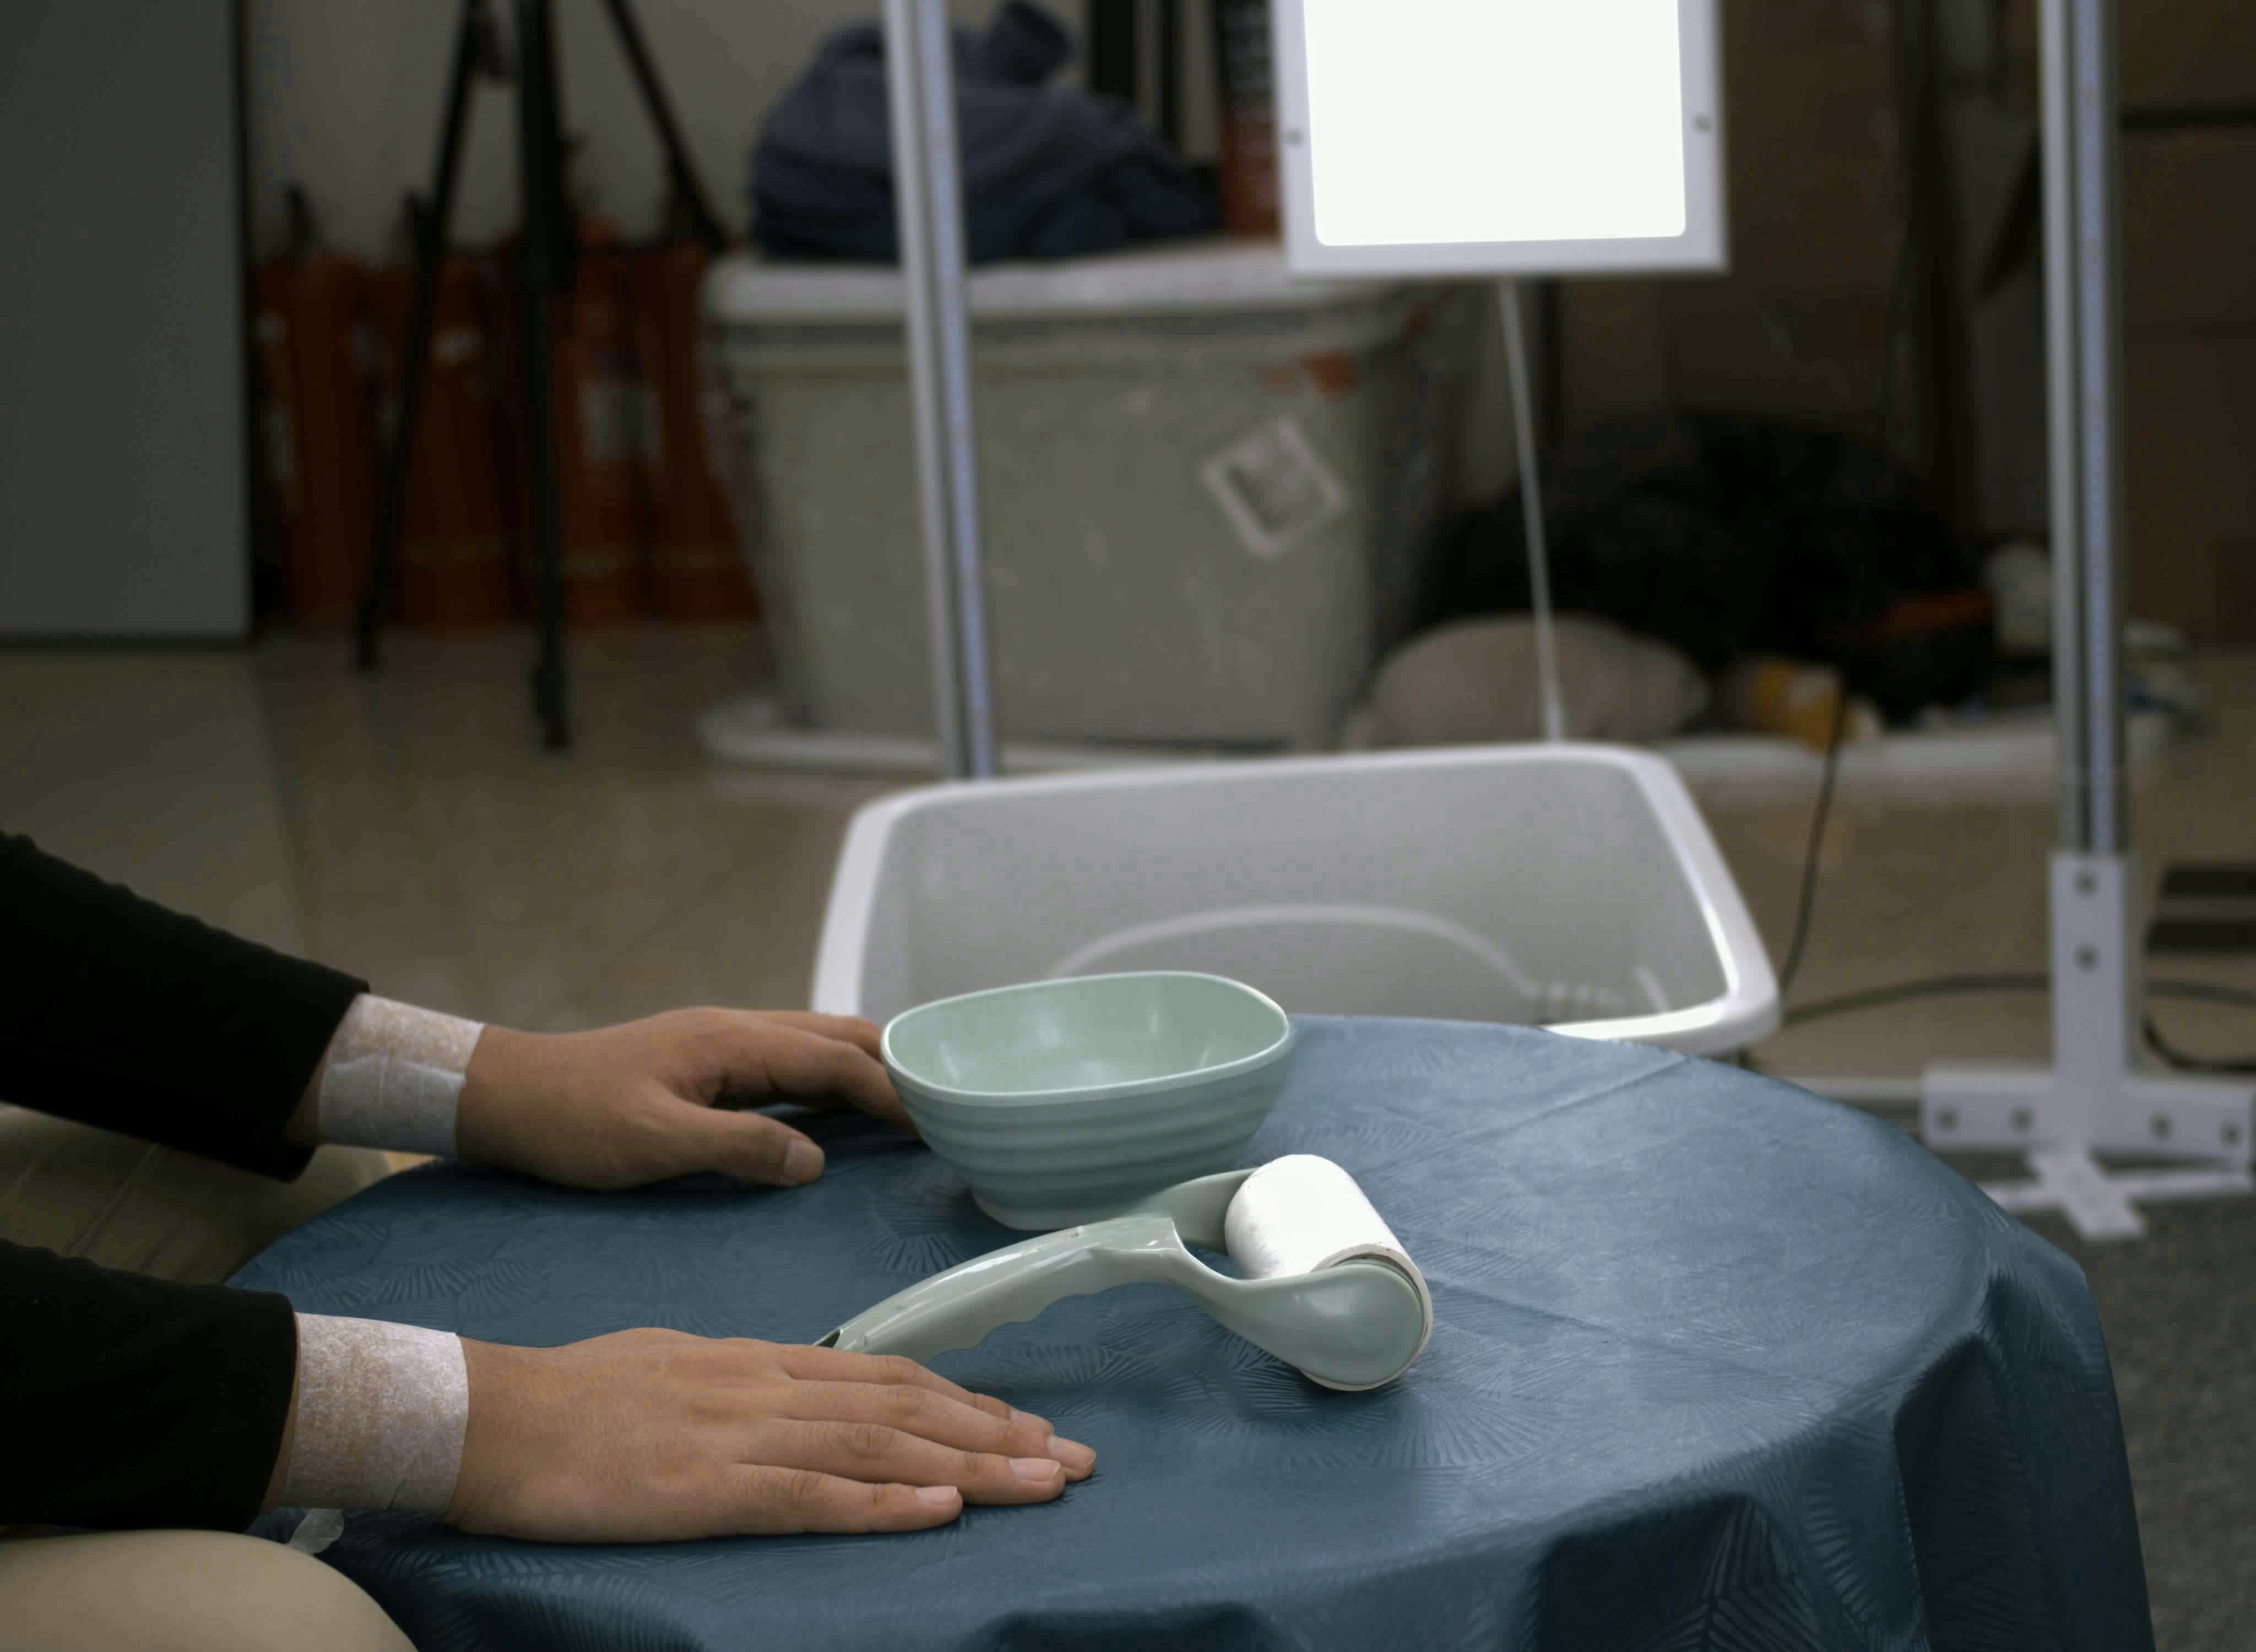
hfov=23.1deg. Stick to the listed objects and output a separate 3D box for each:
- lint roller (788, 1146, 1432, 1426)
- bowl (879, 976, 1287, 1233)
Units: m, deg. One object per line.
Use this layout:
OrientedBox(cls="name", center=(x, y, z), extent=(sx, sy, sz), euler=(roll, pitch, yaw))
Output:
OrientedBox(cls="lint roller", center=(-0.011, 0.147, 1.724), extent=(0.196, 0.049, 0.117), euler=(-8, 16, -7))
OrientedBox(cls="bowl", center=(-0.014, 0.099, 1.899), extent=(0.151, 0.059, 0.151), euler=(-4, 14, 0))
